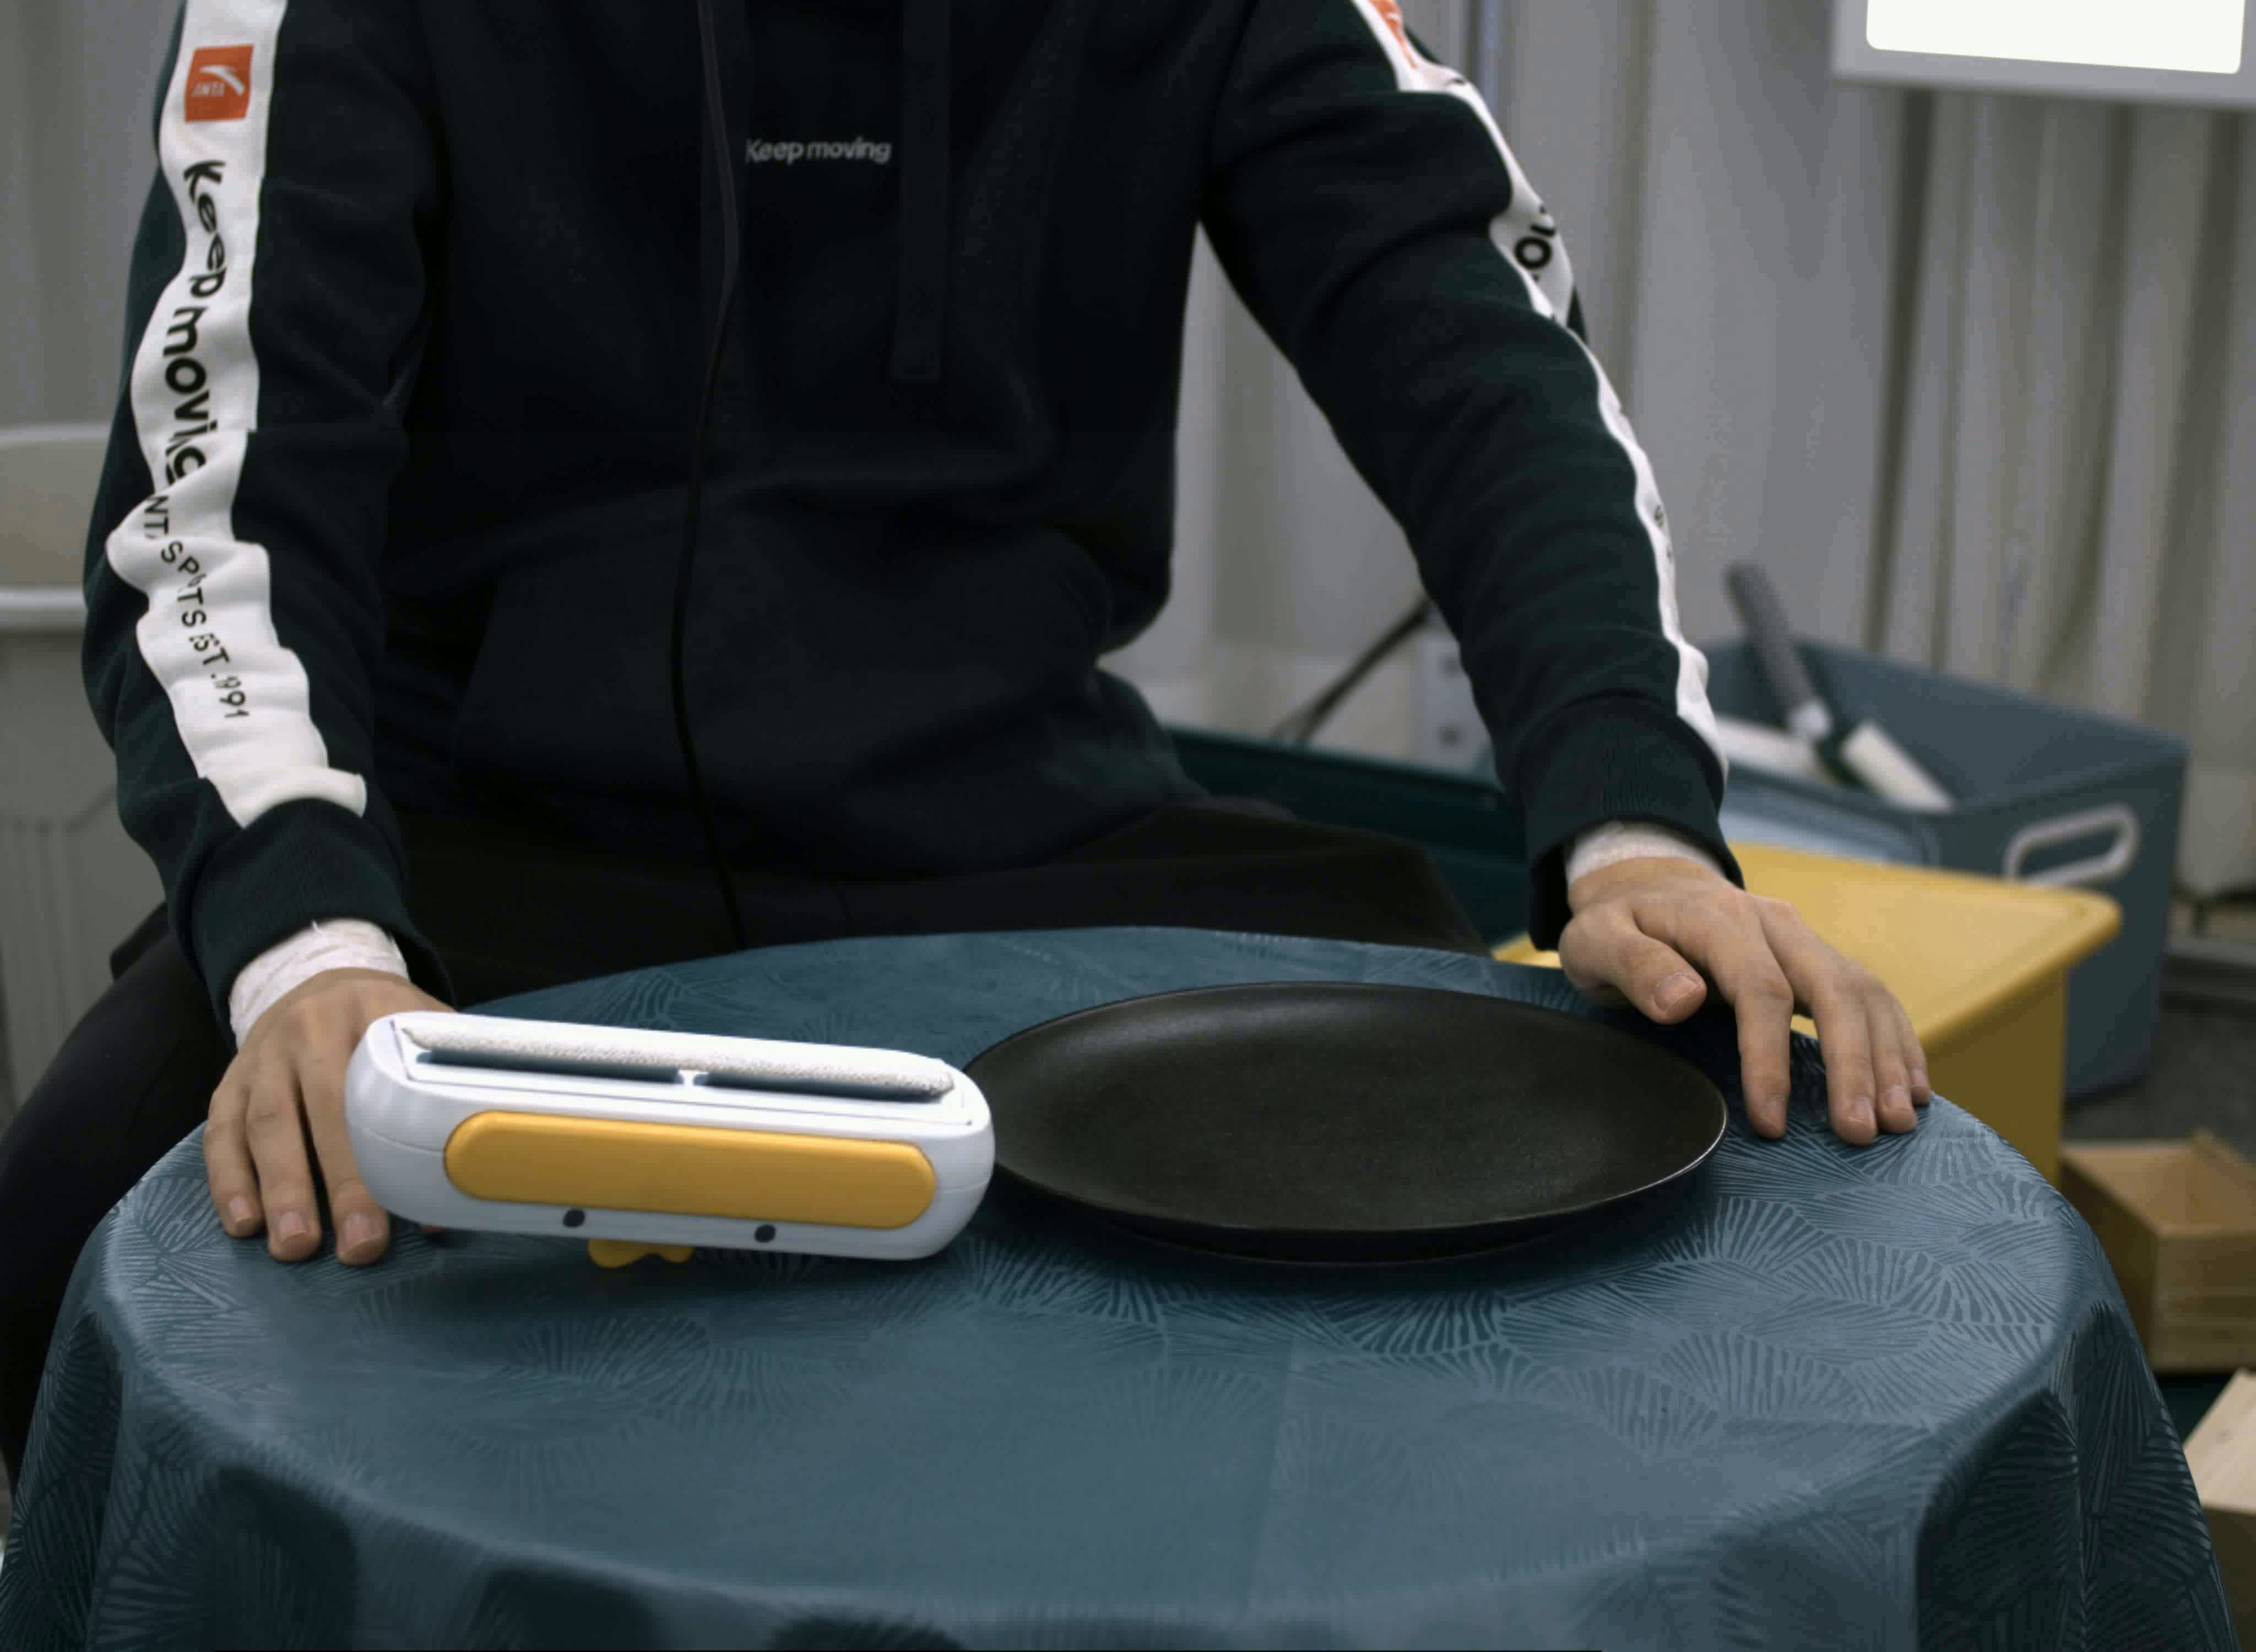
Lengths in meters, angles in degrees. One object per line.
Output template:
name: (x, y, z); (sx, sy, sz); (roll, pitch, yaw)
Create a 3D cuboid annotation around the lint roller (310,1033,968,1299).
lint roller: (-0.154, 0.102, 1.594); (0.193, 0.074, 0.191); (4, 0, -12)

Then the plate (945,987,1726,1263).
plate: (0.064, 0.095, 1.641); (0.243, 0.023, 0.243); (0, 16, 0)
